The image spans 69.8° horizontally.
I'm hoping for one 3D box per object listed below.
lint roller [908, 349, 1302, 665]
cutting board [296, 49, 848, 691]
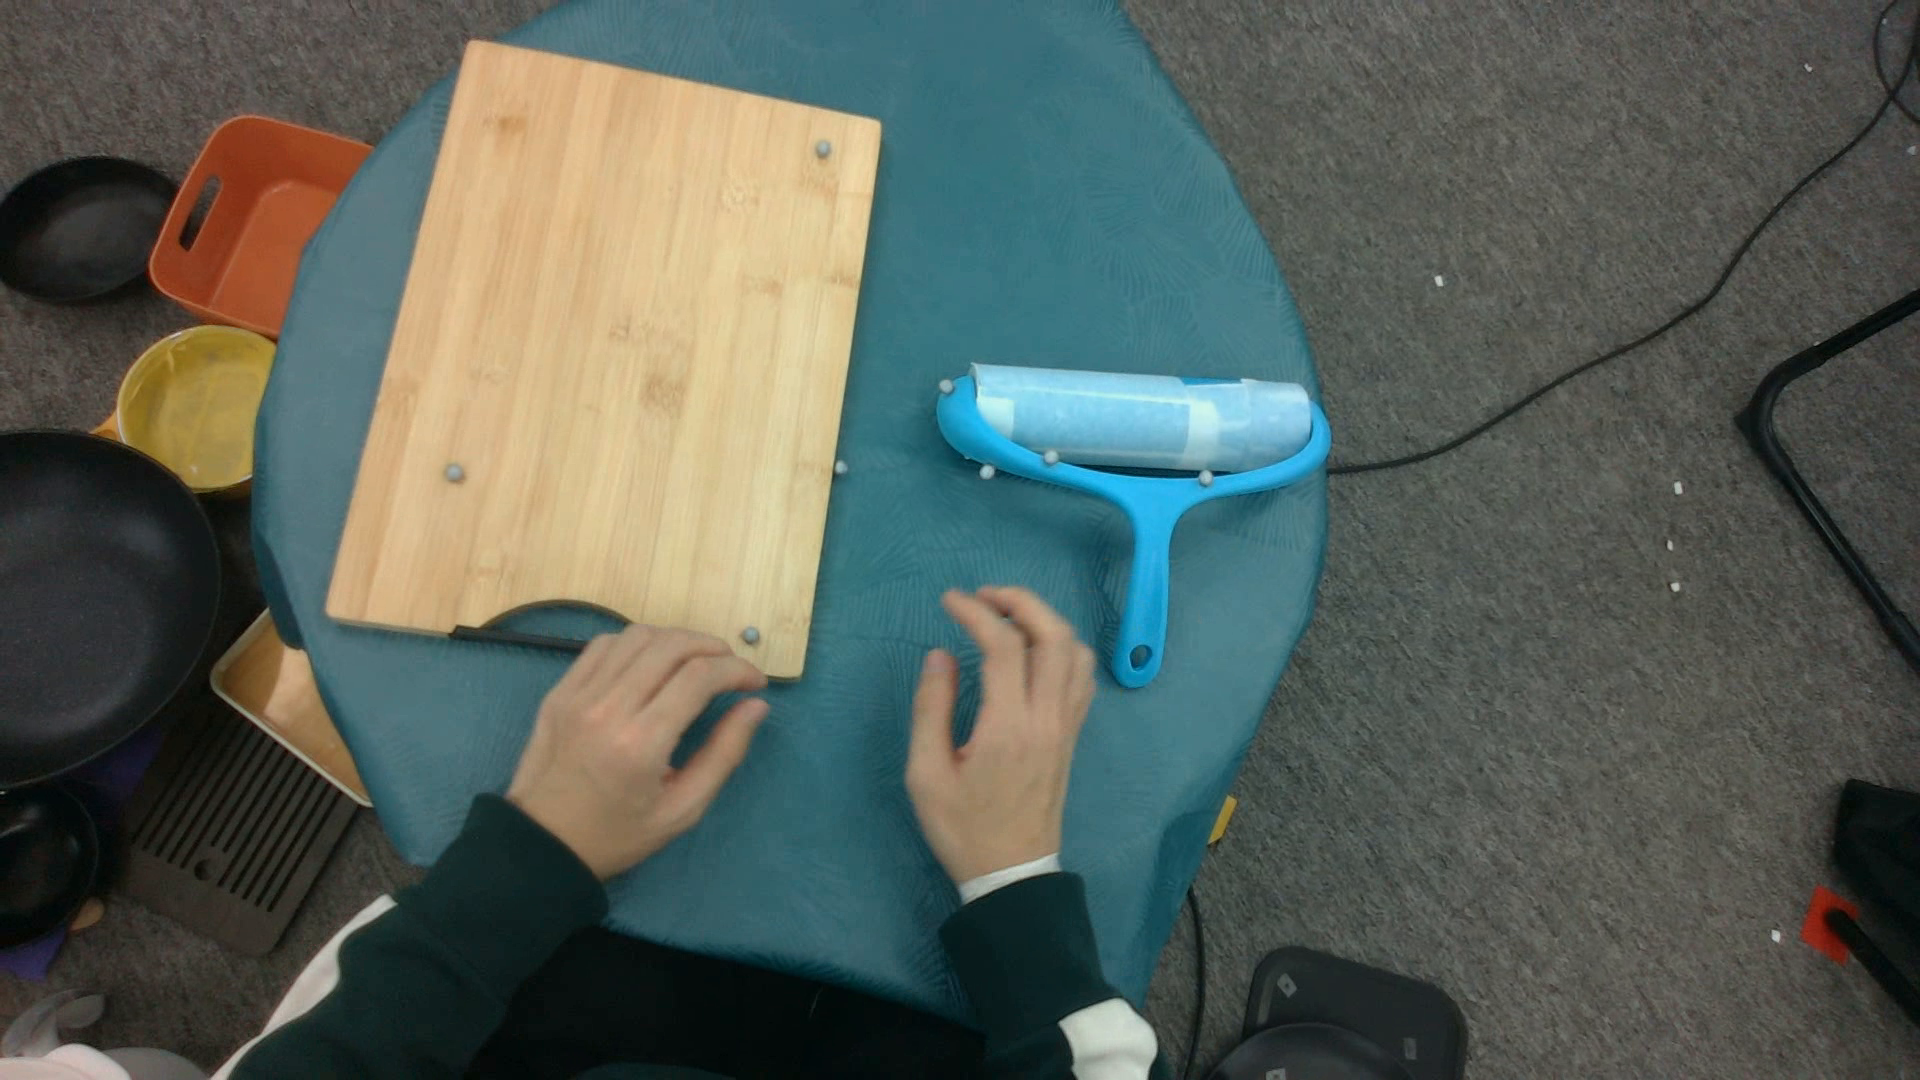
[{"bbox_3d":[0.090,-0.024,0.771,0.229,0.067,0.180,-2,74,-12],"label":"lint roller"},{"bbox_3d":[-0.200,-0.099,0.761,0.251,0.023,0.349,6,73,-9],"label":"cutting board"}]
